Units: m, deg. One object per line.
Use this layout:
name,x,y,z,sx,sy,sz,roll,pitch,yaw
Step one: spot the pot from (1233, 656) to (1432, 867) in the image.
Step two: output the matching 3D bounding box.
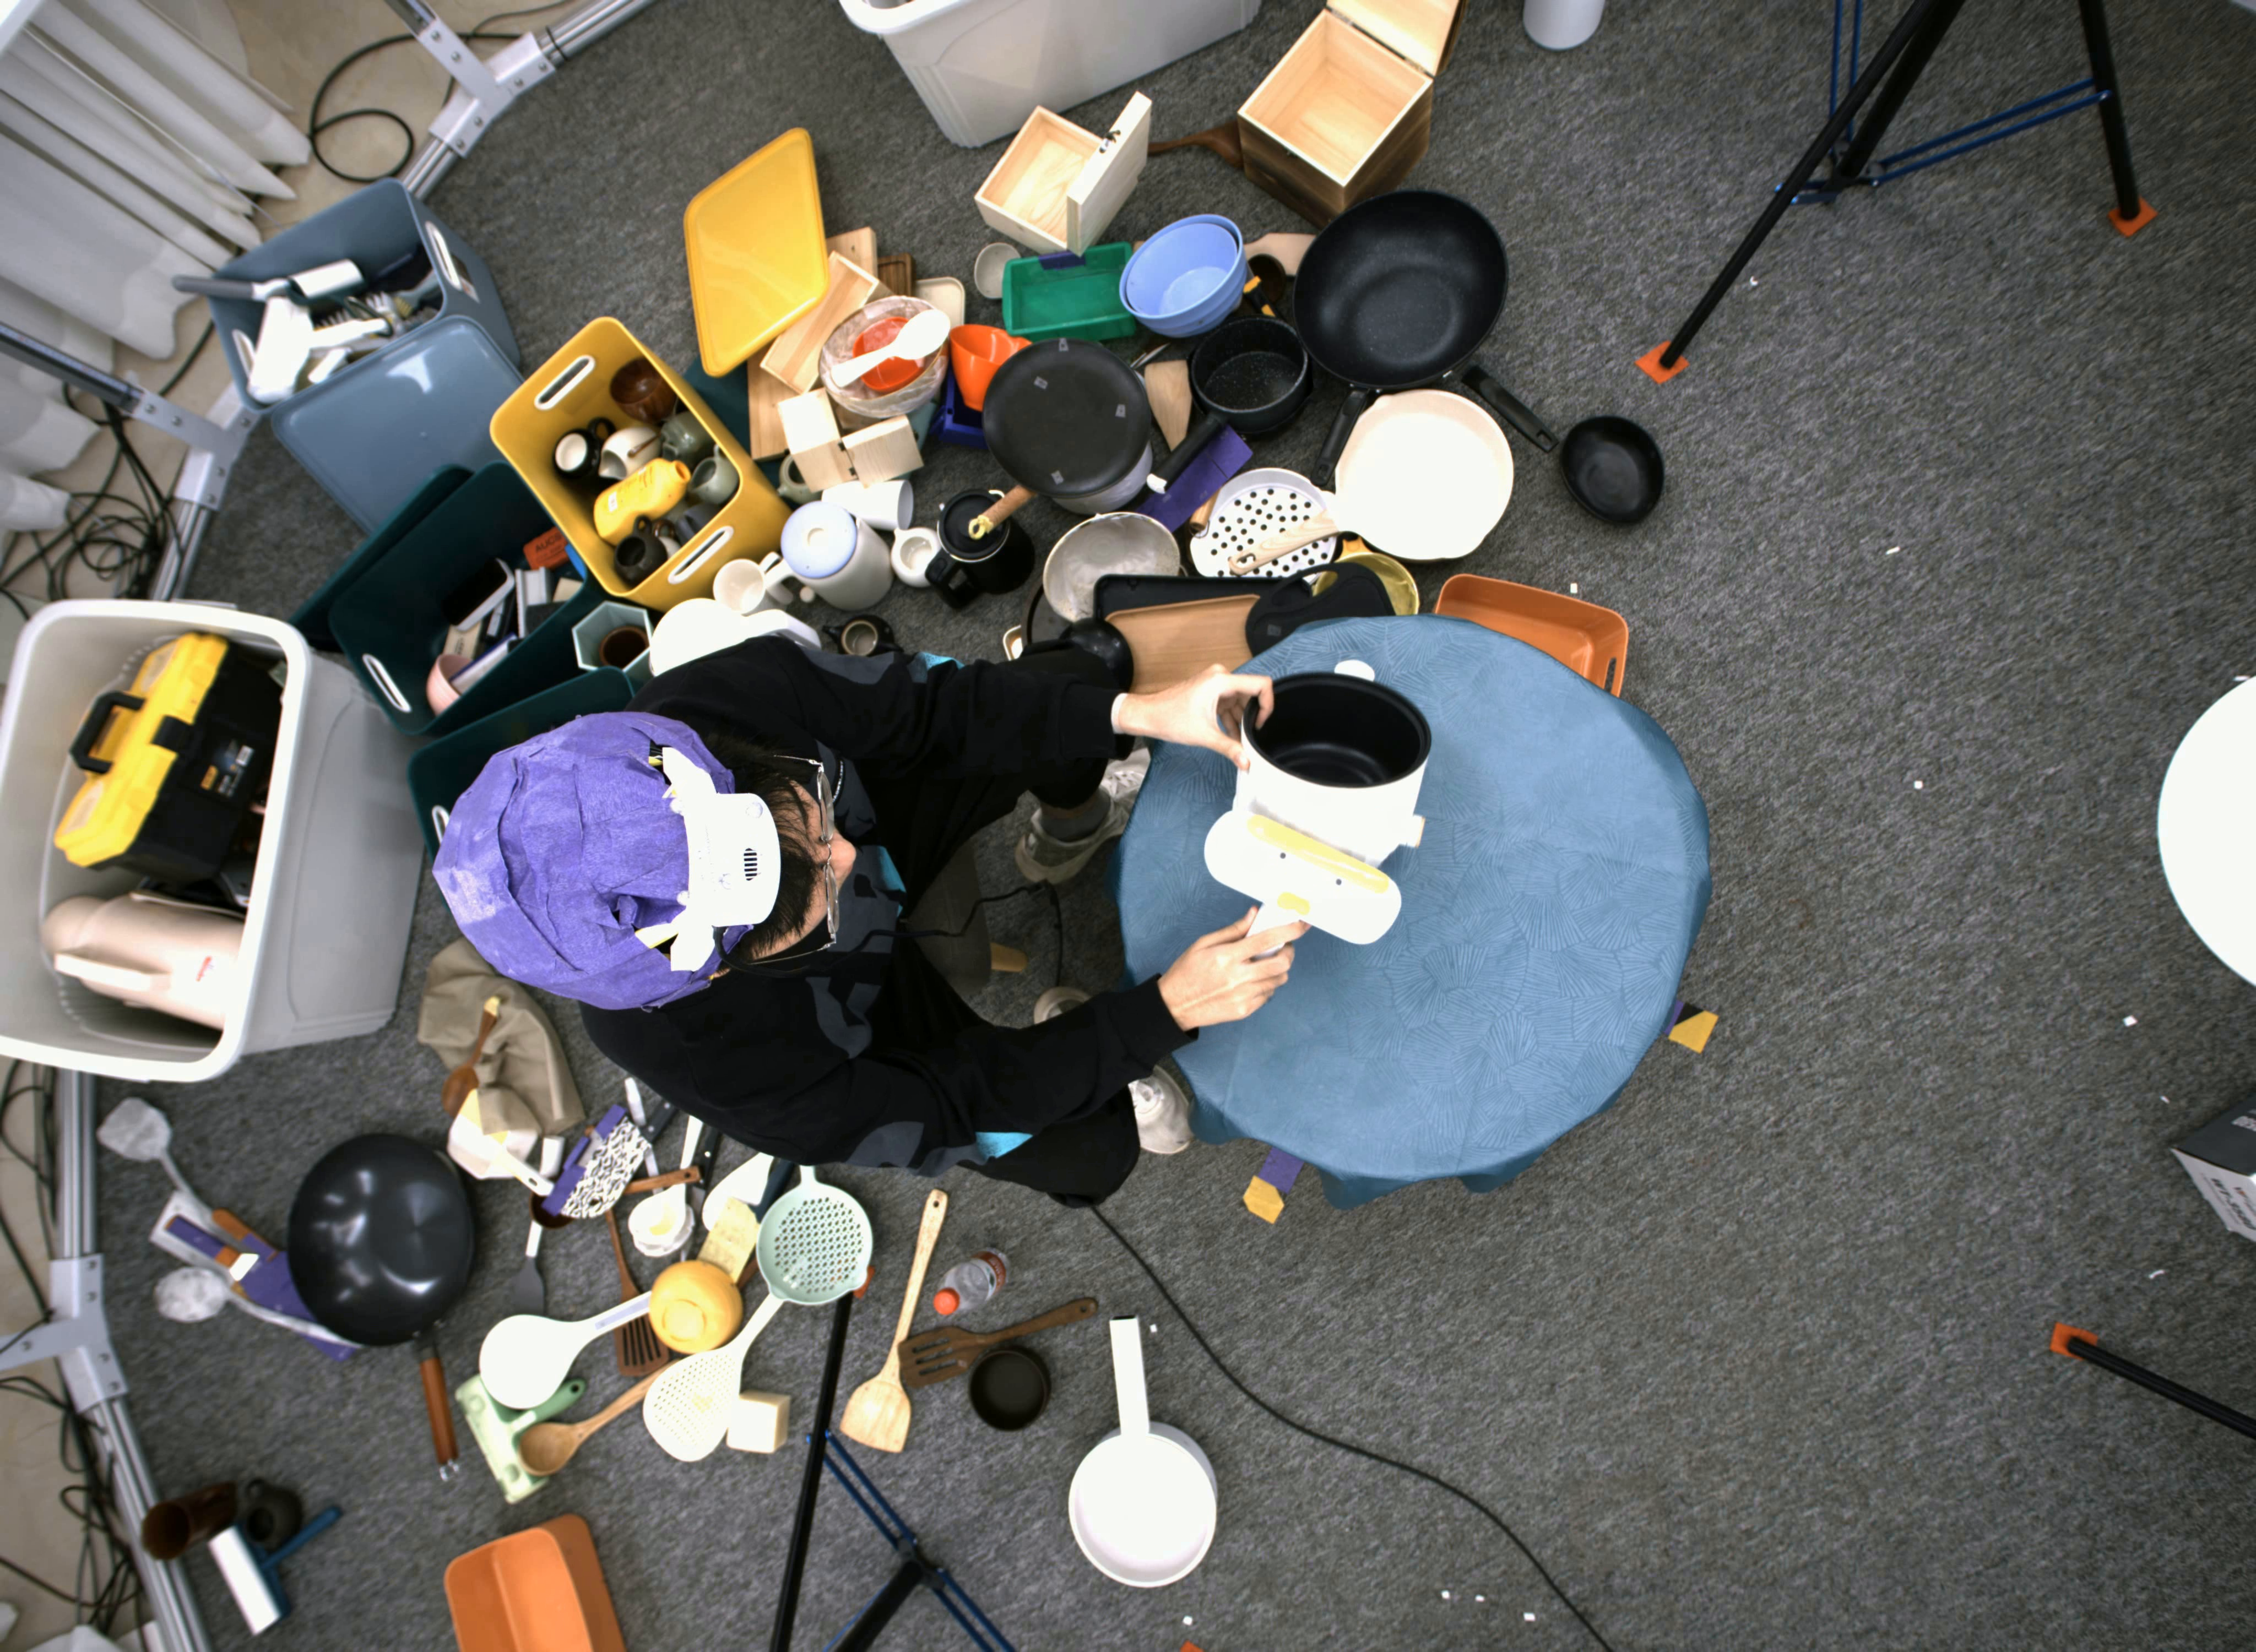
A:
pot,0.202,-0.050,1.351,0.191,0.146,0.234,10,45,13

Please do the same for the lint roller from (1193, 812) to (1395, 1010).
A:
lint roller,0.136,0.093,1.320,0.193,0.072,0.197,18,129,-6
